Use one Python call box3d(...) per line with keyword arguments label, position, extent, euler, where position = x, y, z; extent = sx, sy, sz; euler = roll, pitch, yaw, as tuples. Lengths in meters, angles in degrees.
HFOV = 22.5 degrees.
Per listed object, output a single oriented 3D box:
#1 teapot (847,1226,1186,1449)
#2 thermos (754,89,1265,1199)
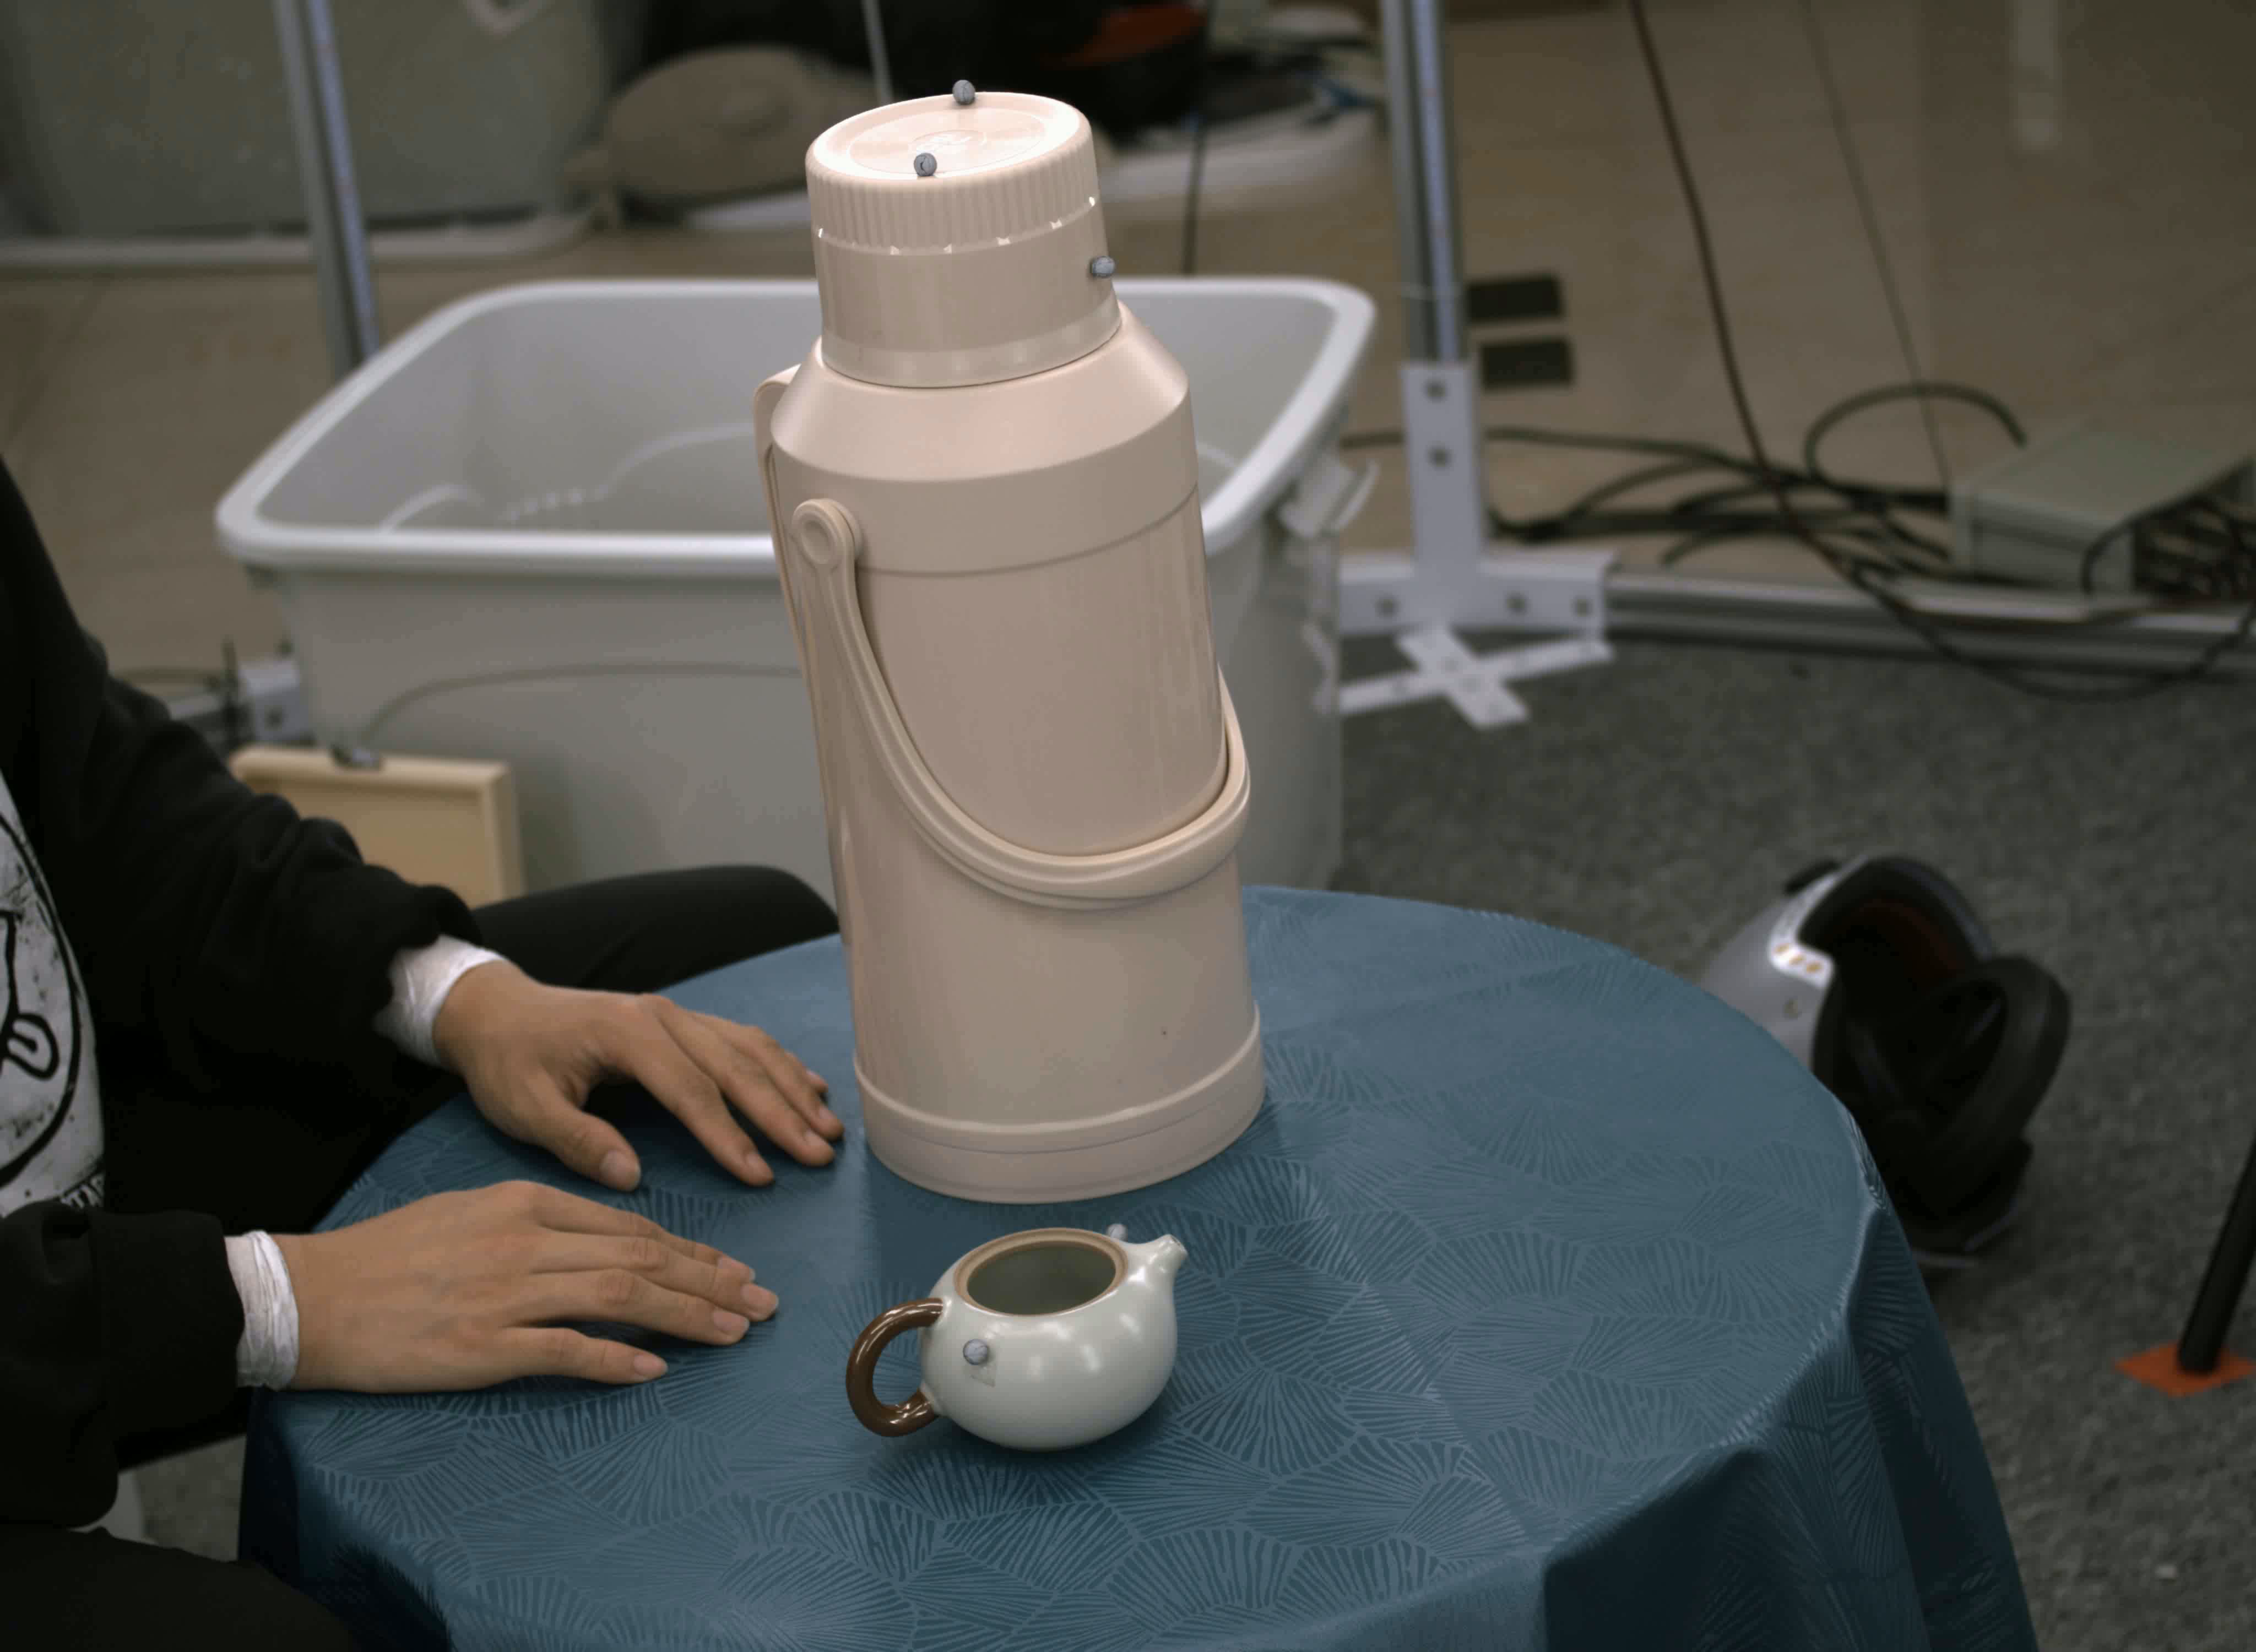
box3d(label="teapot", position=(-0.038, 0.183, 1.996), extent=(0.127, 0.060, 0.090), euler=(-13, 29, -17))
box3d(label="thermos", position=(-0.054, -0.073, 2.141), extent=(0.205, 0.413, 0.173), euler=(18, 37, 40))
